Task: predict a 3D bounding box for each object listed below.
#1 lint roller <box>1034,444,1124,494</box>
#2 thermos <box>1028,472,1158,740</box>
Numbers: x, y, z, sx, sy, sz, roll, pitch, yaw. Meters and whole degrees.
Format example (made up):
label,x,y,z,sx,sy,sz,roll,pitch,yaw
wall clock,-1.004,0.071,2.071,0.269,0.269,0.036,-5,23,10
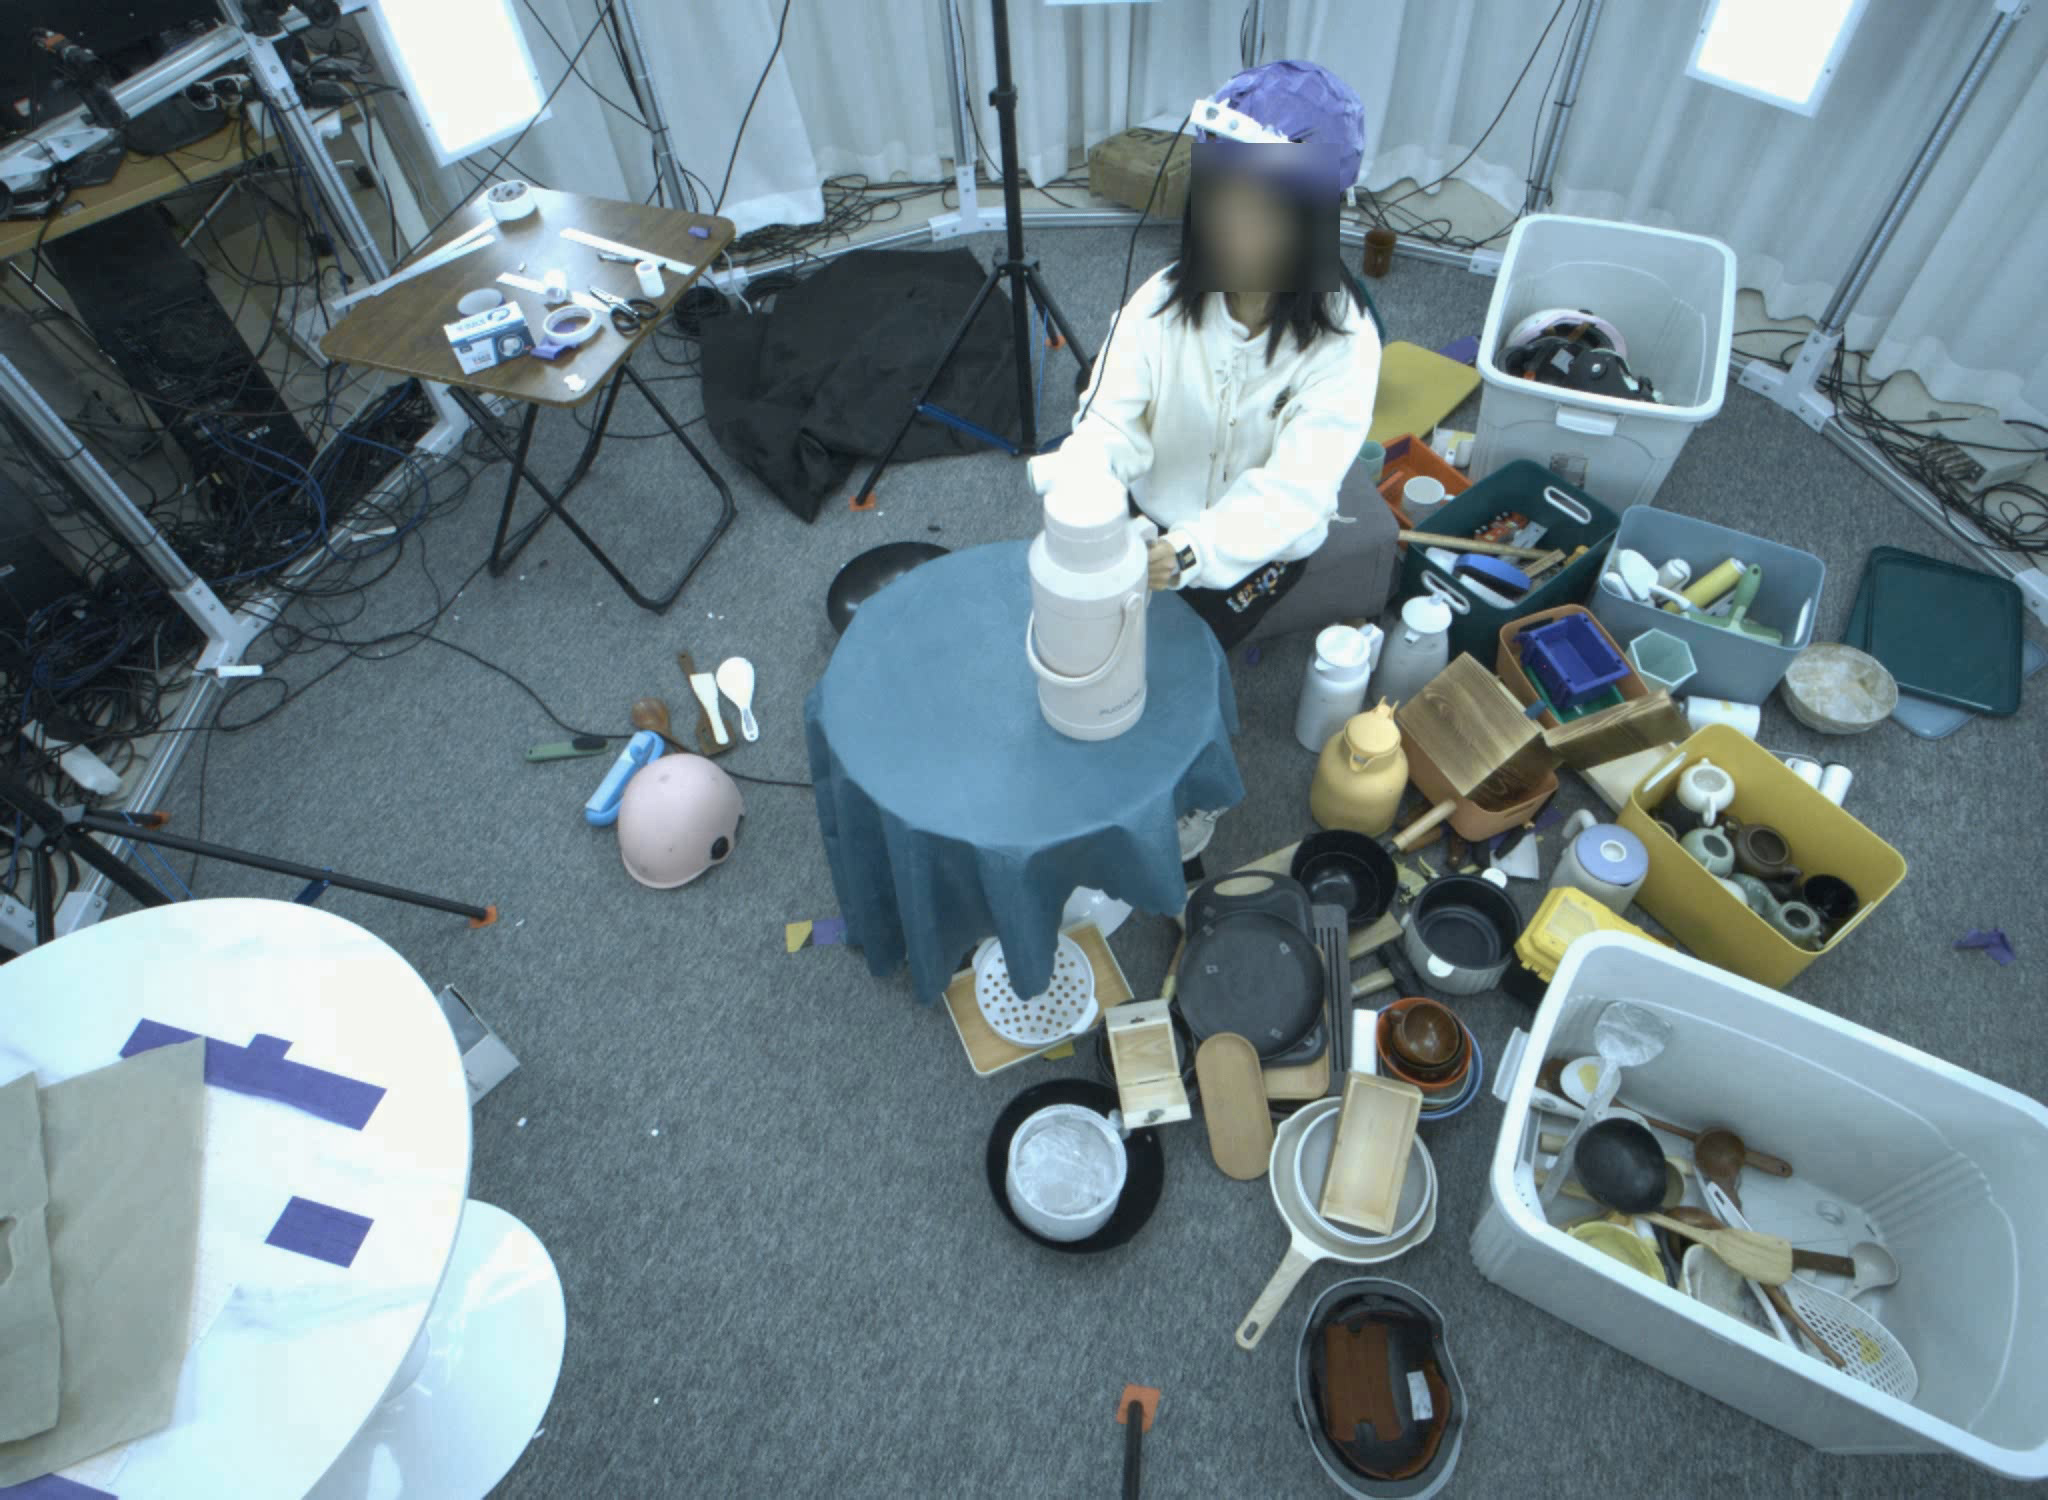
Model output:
label,x,y,z,sx,sy,sz,roll,pitch,yaw
lint roller,0.075,-0.364,1.643,0.116,0.198,0.048,-12,91,5
thermos,0.099,-0.200,1.682,0.208,0.411,0.172,-37,60,-21
